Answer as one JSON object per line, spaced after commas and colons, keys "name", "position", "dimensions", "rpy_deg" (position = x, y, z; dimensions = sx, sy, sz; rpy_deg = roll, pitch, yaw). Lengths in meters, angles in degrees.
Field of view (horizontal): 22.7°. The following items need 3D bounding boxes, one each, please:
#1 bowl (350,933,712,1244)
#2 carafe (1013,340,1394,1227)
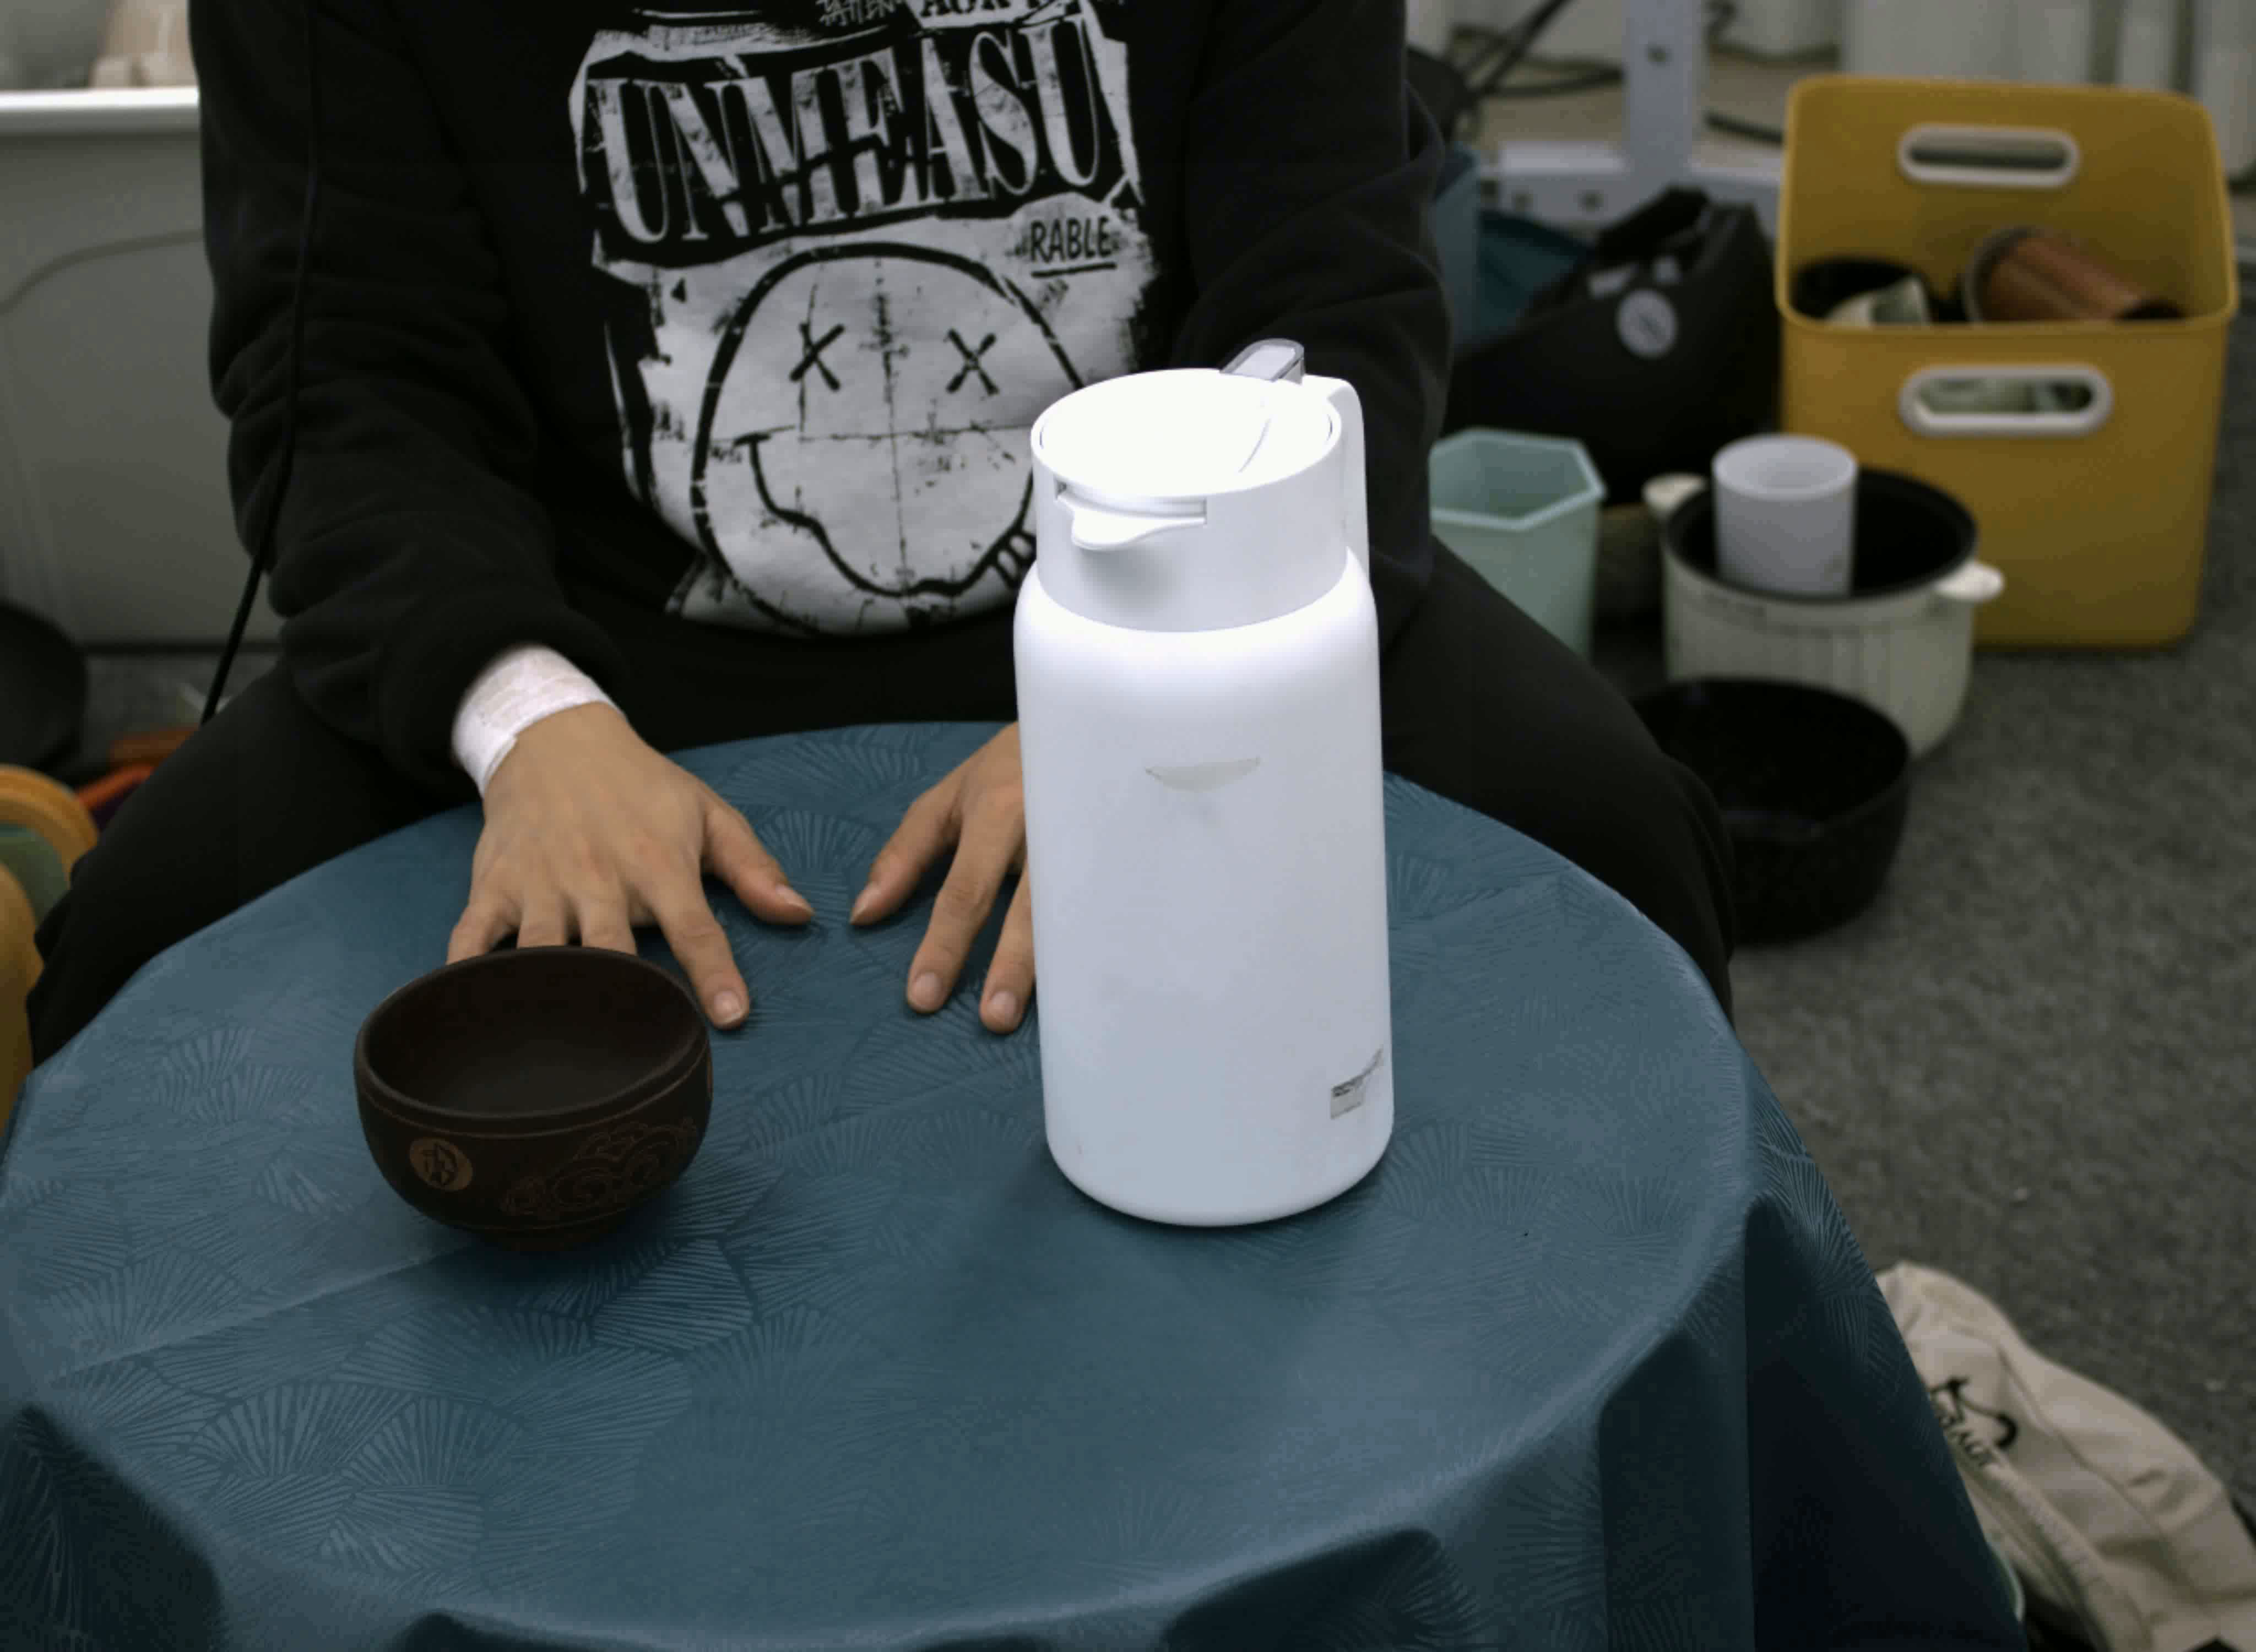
{"name": "bowl", "position": [-0.195, 0.094, 1.851], "dimensions": [0.117, 0.069, 0.120], "rpy_deg": [-2, 29, 2]}
{"name": "carafe", "position": [0.031, -0.018, 1.839], "dimensions": [0.123, 0.266, 0.176], "rpy_deg": [7, 28, 24]}
